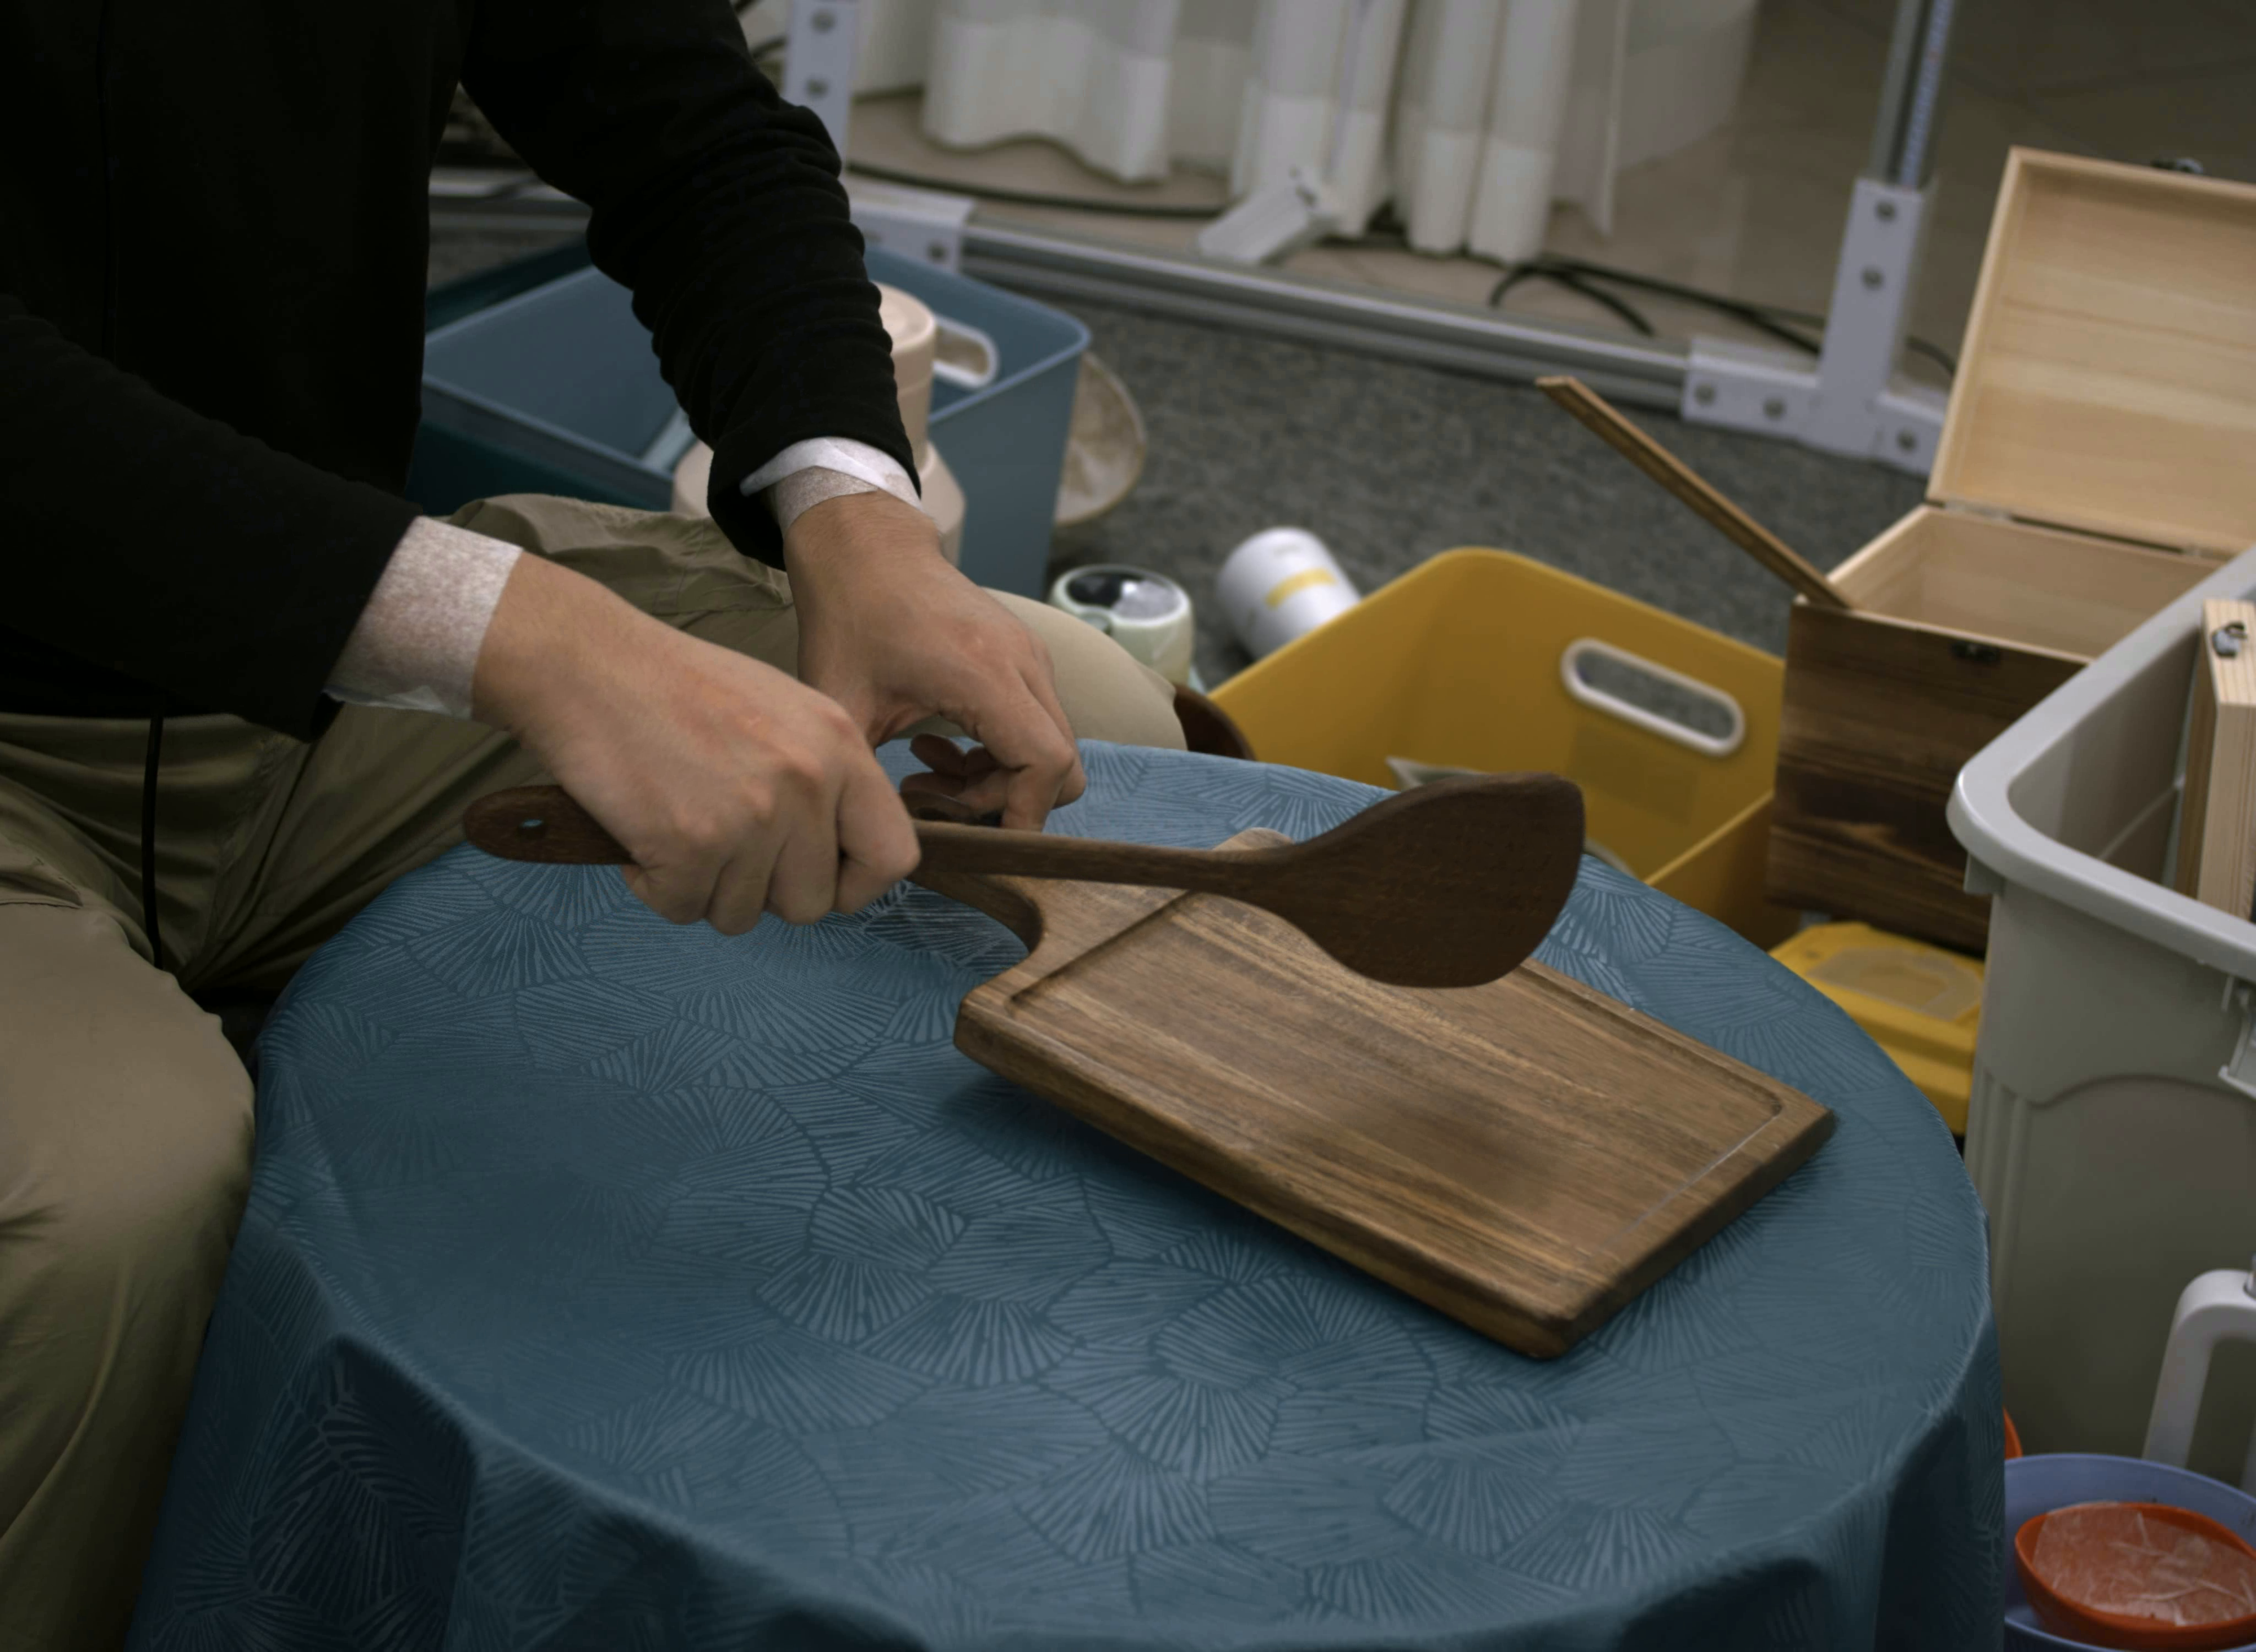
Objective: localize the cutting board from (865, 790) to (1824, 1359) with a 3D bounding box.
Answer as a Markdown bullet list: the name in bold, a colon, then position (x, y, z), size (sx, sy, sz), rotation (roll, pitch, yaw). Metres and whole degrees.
- **cutting board**: position (0.052, 0.067, 1.873), size (0.354, 0.023, 0.200), rotation (26, 33, 26)

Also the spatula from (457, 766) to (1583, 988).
- **spatula**: position (-0.032, 0.008, 1.763), size (0.383, 0.096, 0.016), rotation (5, 38, -16)
